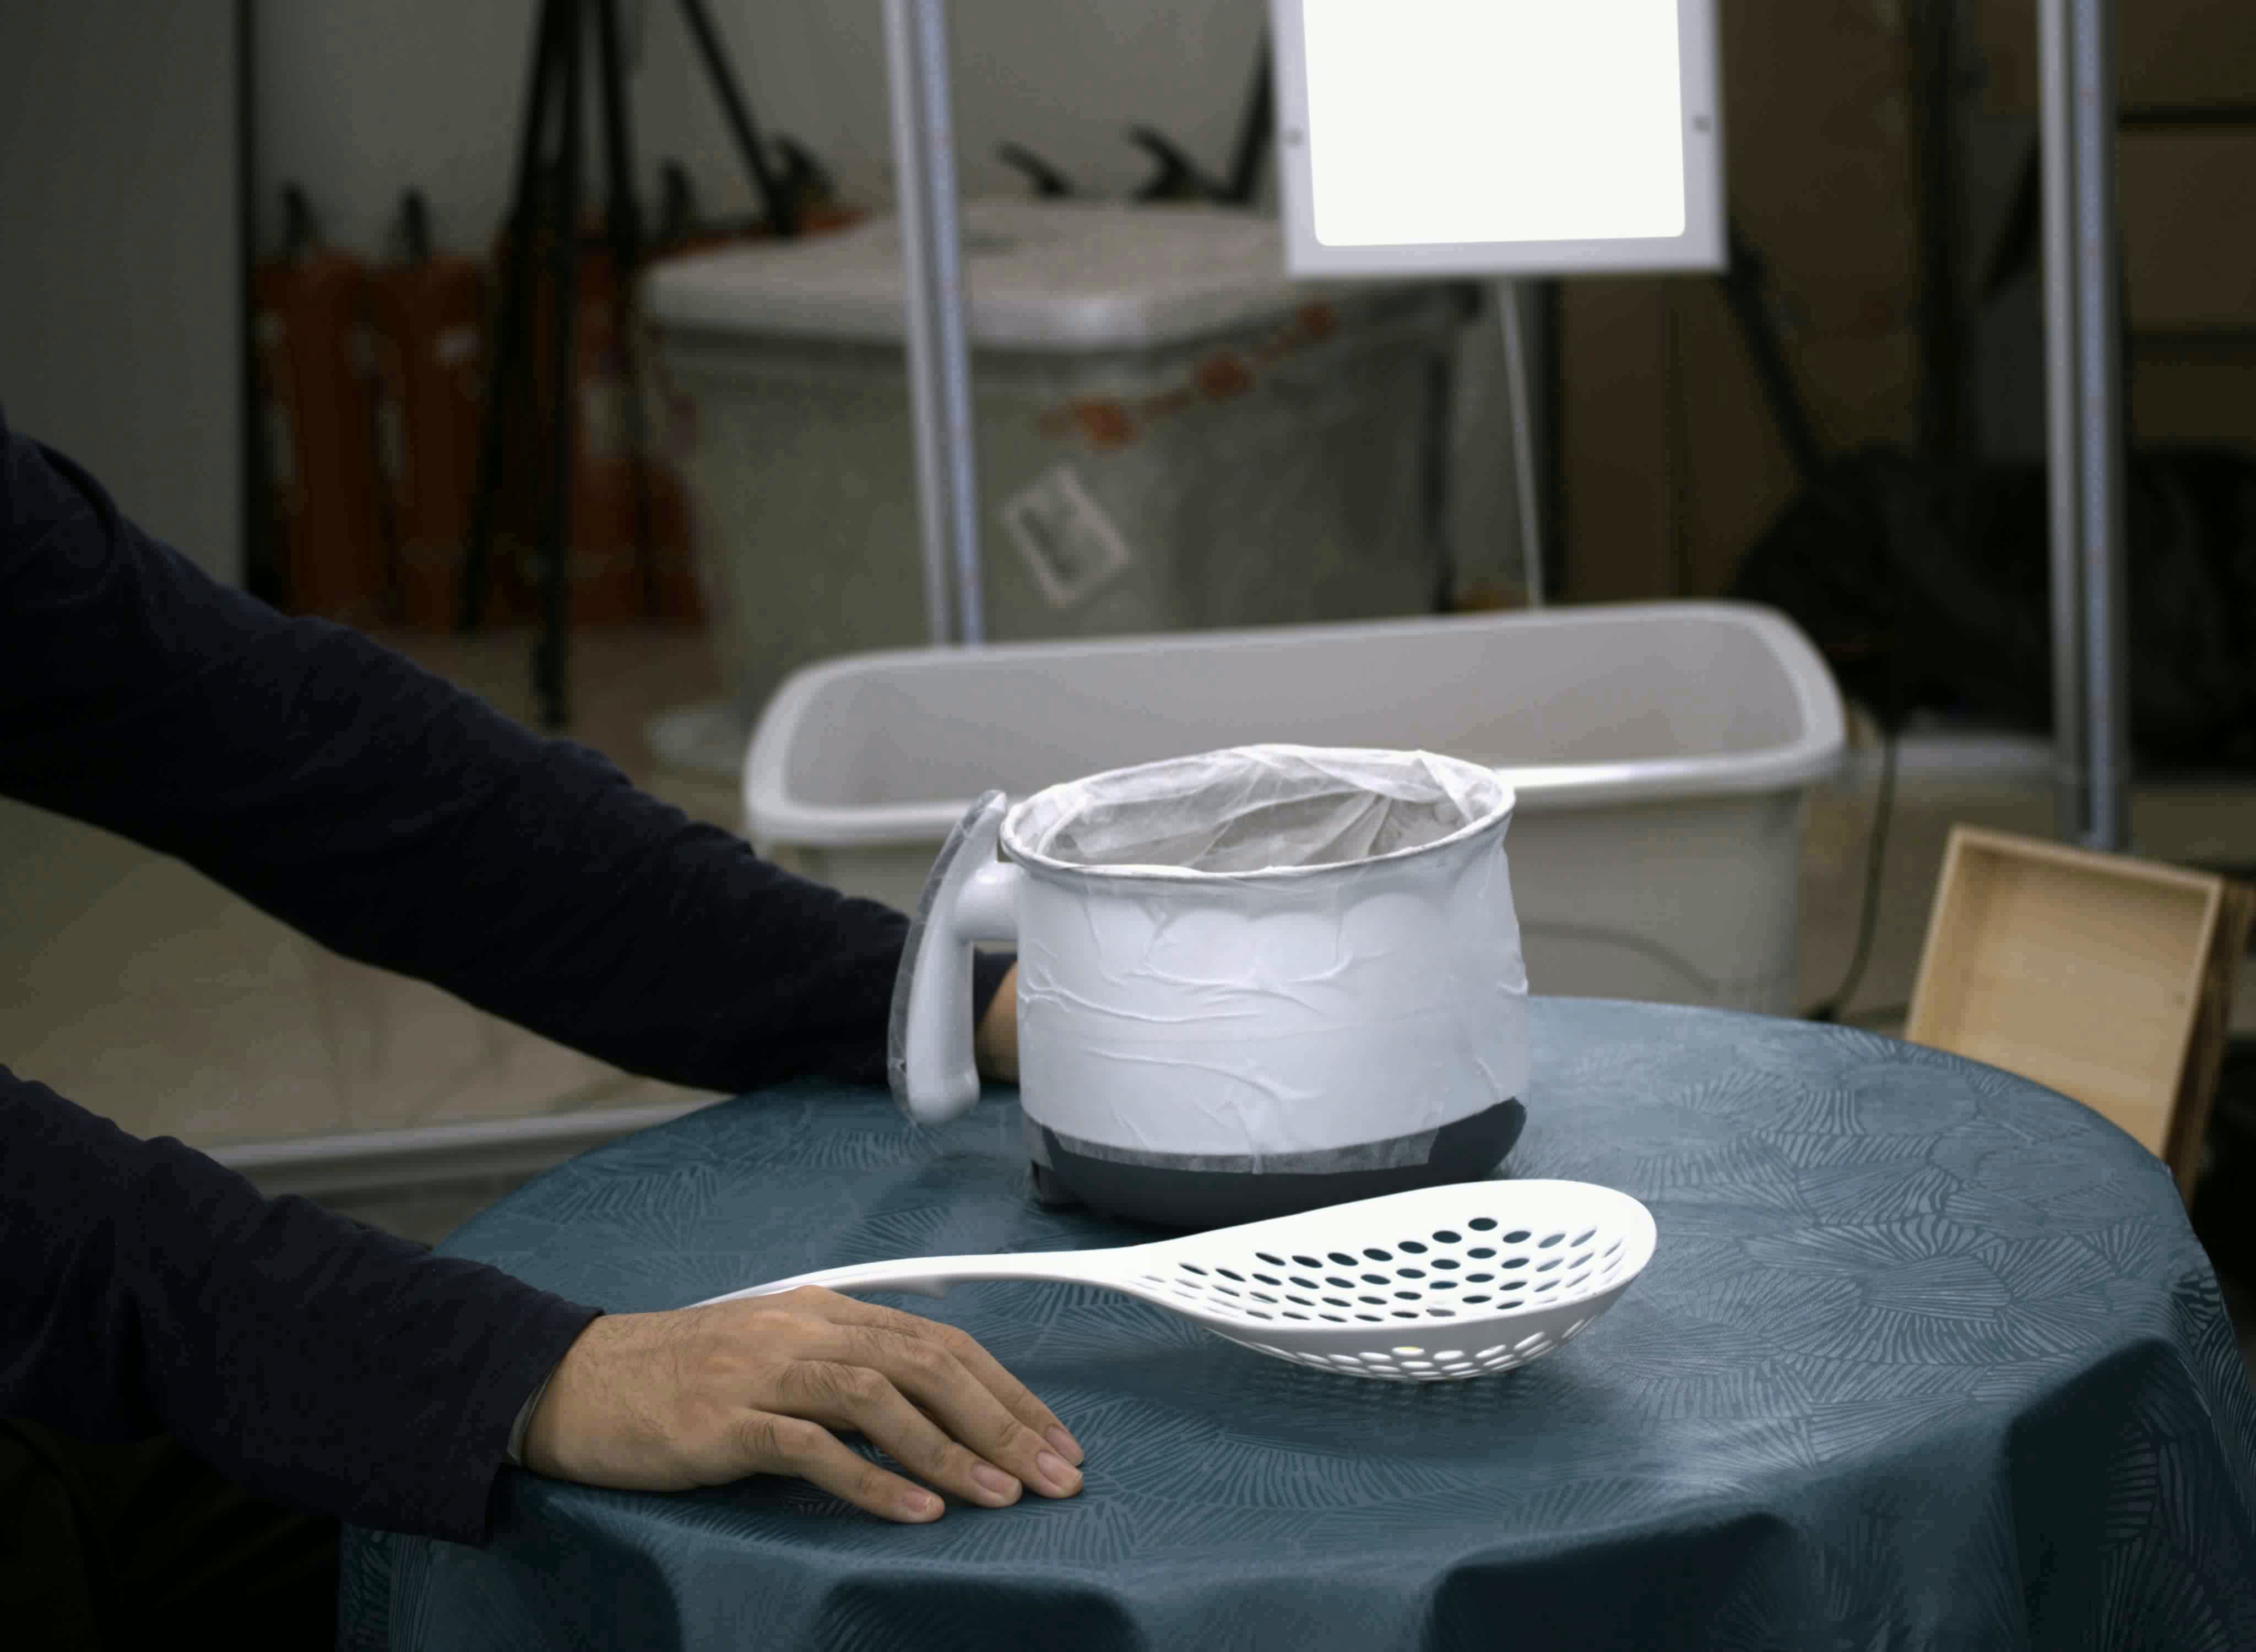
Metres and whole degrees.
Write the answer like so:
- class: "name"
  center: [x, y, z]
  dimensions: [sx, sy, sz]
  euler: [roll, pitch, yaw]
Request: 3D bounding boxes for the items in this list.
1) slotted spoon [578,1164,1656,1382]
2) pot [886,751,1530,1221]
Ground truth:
- class: "slotted spoon"
  center: [-0.007, 0.148, 1.725]
  dimensions: [0.351, 0.050, 0.135]
  euler: [-1, 15, 16]
- class: "pot"
  center: [0.024, 0.053, 1.899]
  dimensions: [0.237, 0.137, 0.175]
  euler: [2, 12, 23]
